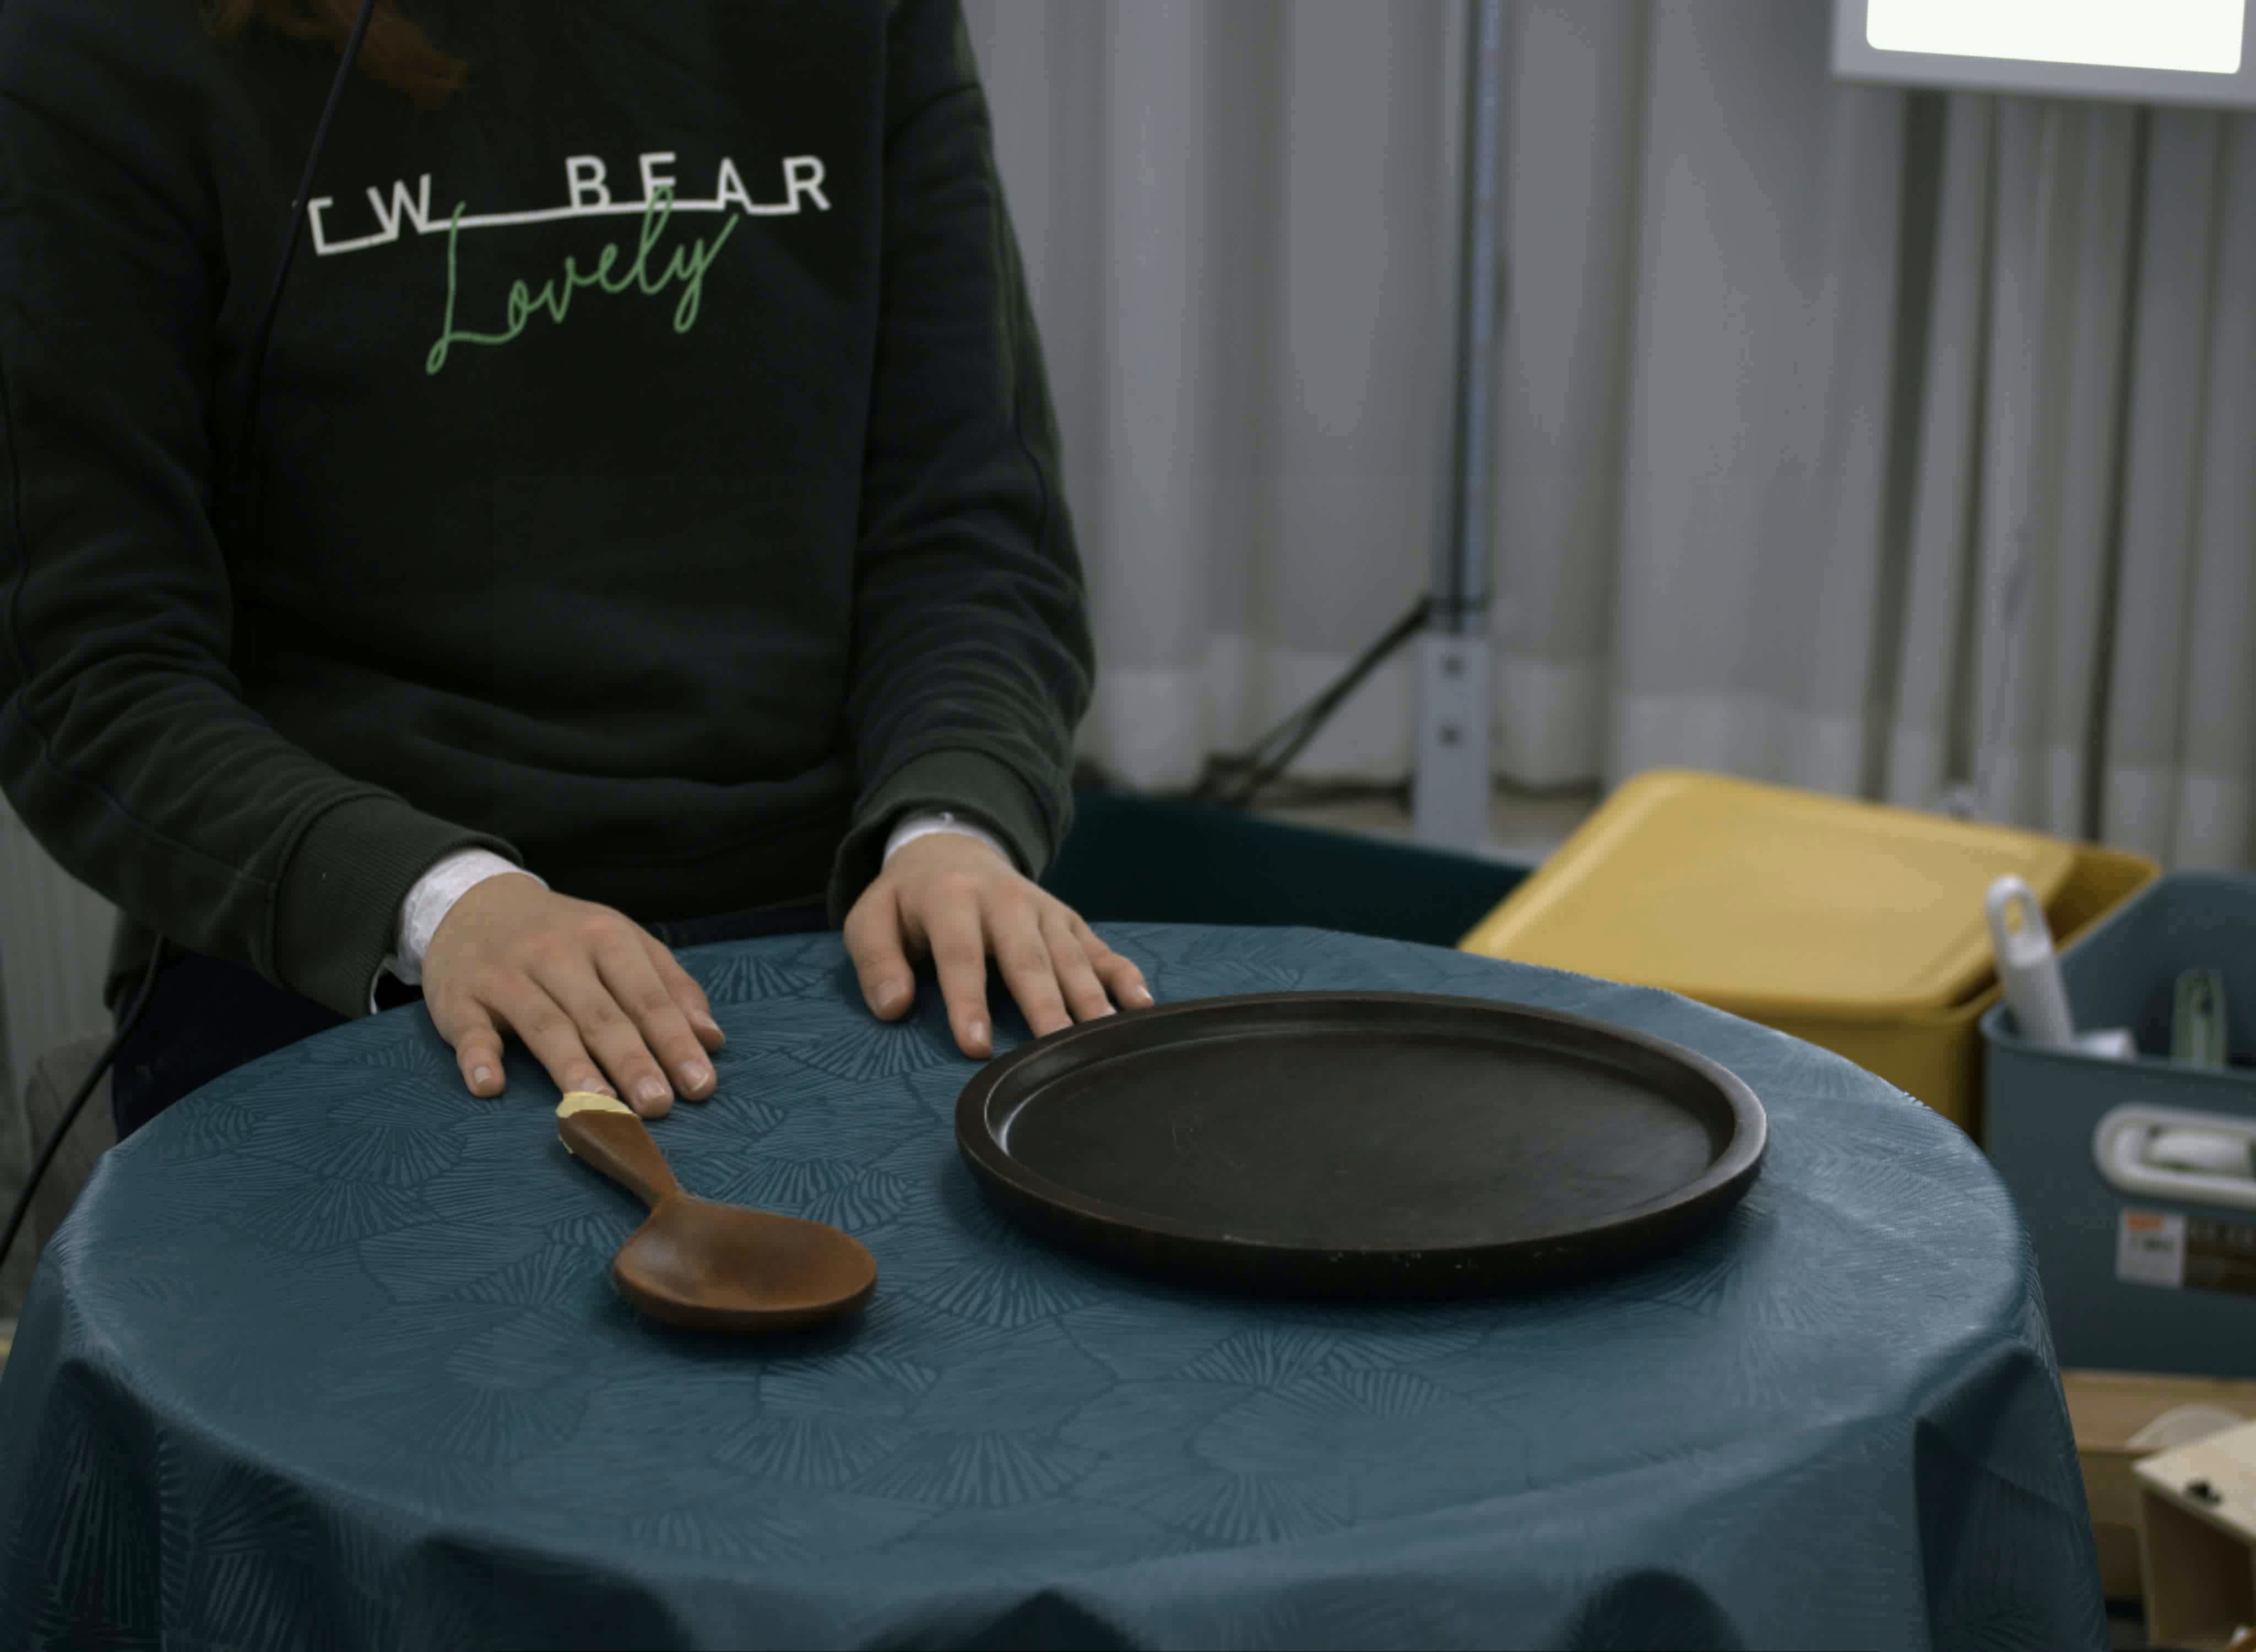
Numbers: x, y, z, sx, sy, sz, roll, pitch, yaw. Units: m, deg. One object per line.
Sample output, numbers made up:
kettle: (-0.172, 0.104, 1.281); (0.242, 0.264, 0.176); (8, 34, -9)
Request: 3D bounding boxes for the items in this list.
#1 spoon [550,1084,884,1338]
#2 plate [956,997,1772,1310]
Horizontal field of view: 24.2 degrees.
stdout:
spoon: (-0.133, 0.116, 1.578); (0.076, 0.017, 0.213); (-6, 18, -22)
plate: (0.072, 0.099, 1.639); (0.254, 0.029, 0.253); (1, 17, 0)
